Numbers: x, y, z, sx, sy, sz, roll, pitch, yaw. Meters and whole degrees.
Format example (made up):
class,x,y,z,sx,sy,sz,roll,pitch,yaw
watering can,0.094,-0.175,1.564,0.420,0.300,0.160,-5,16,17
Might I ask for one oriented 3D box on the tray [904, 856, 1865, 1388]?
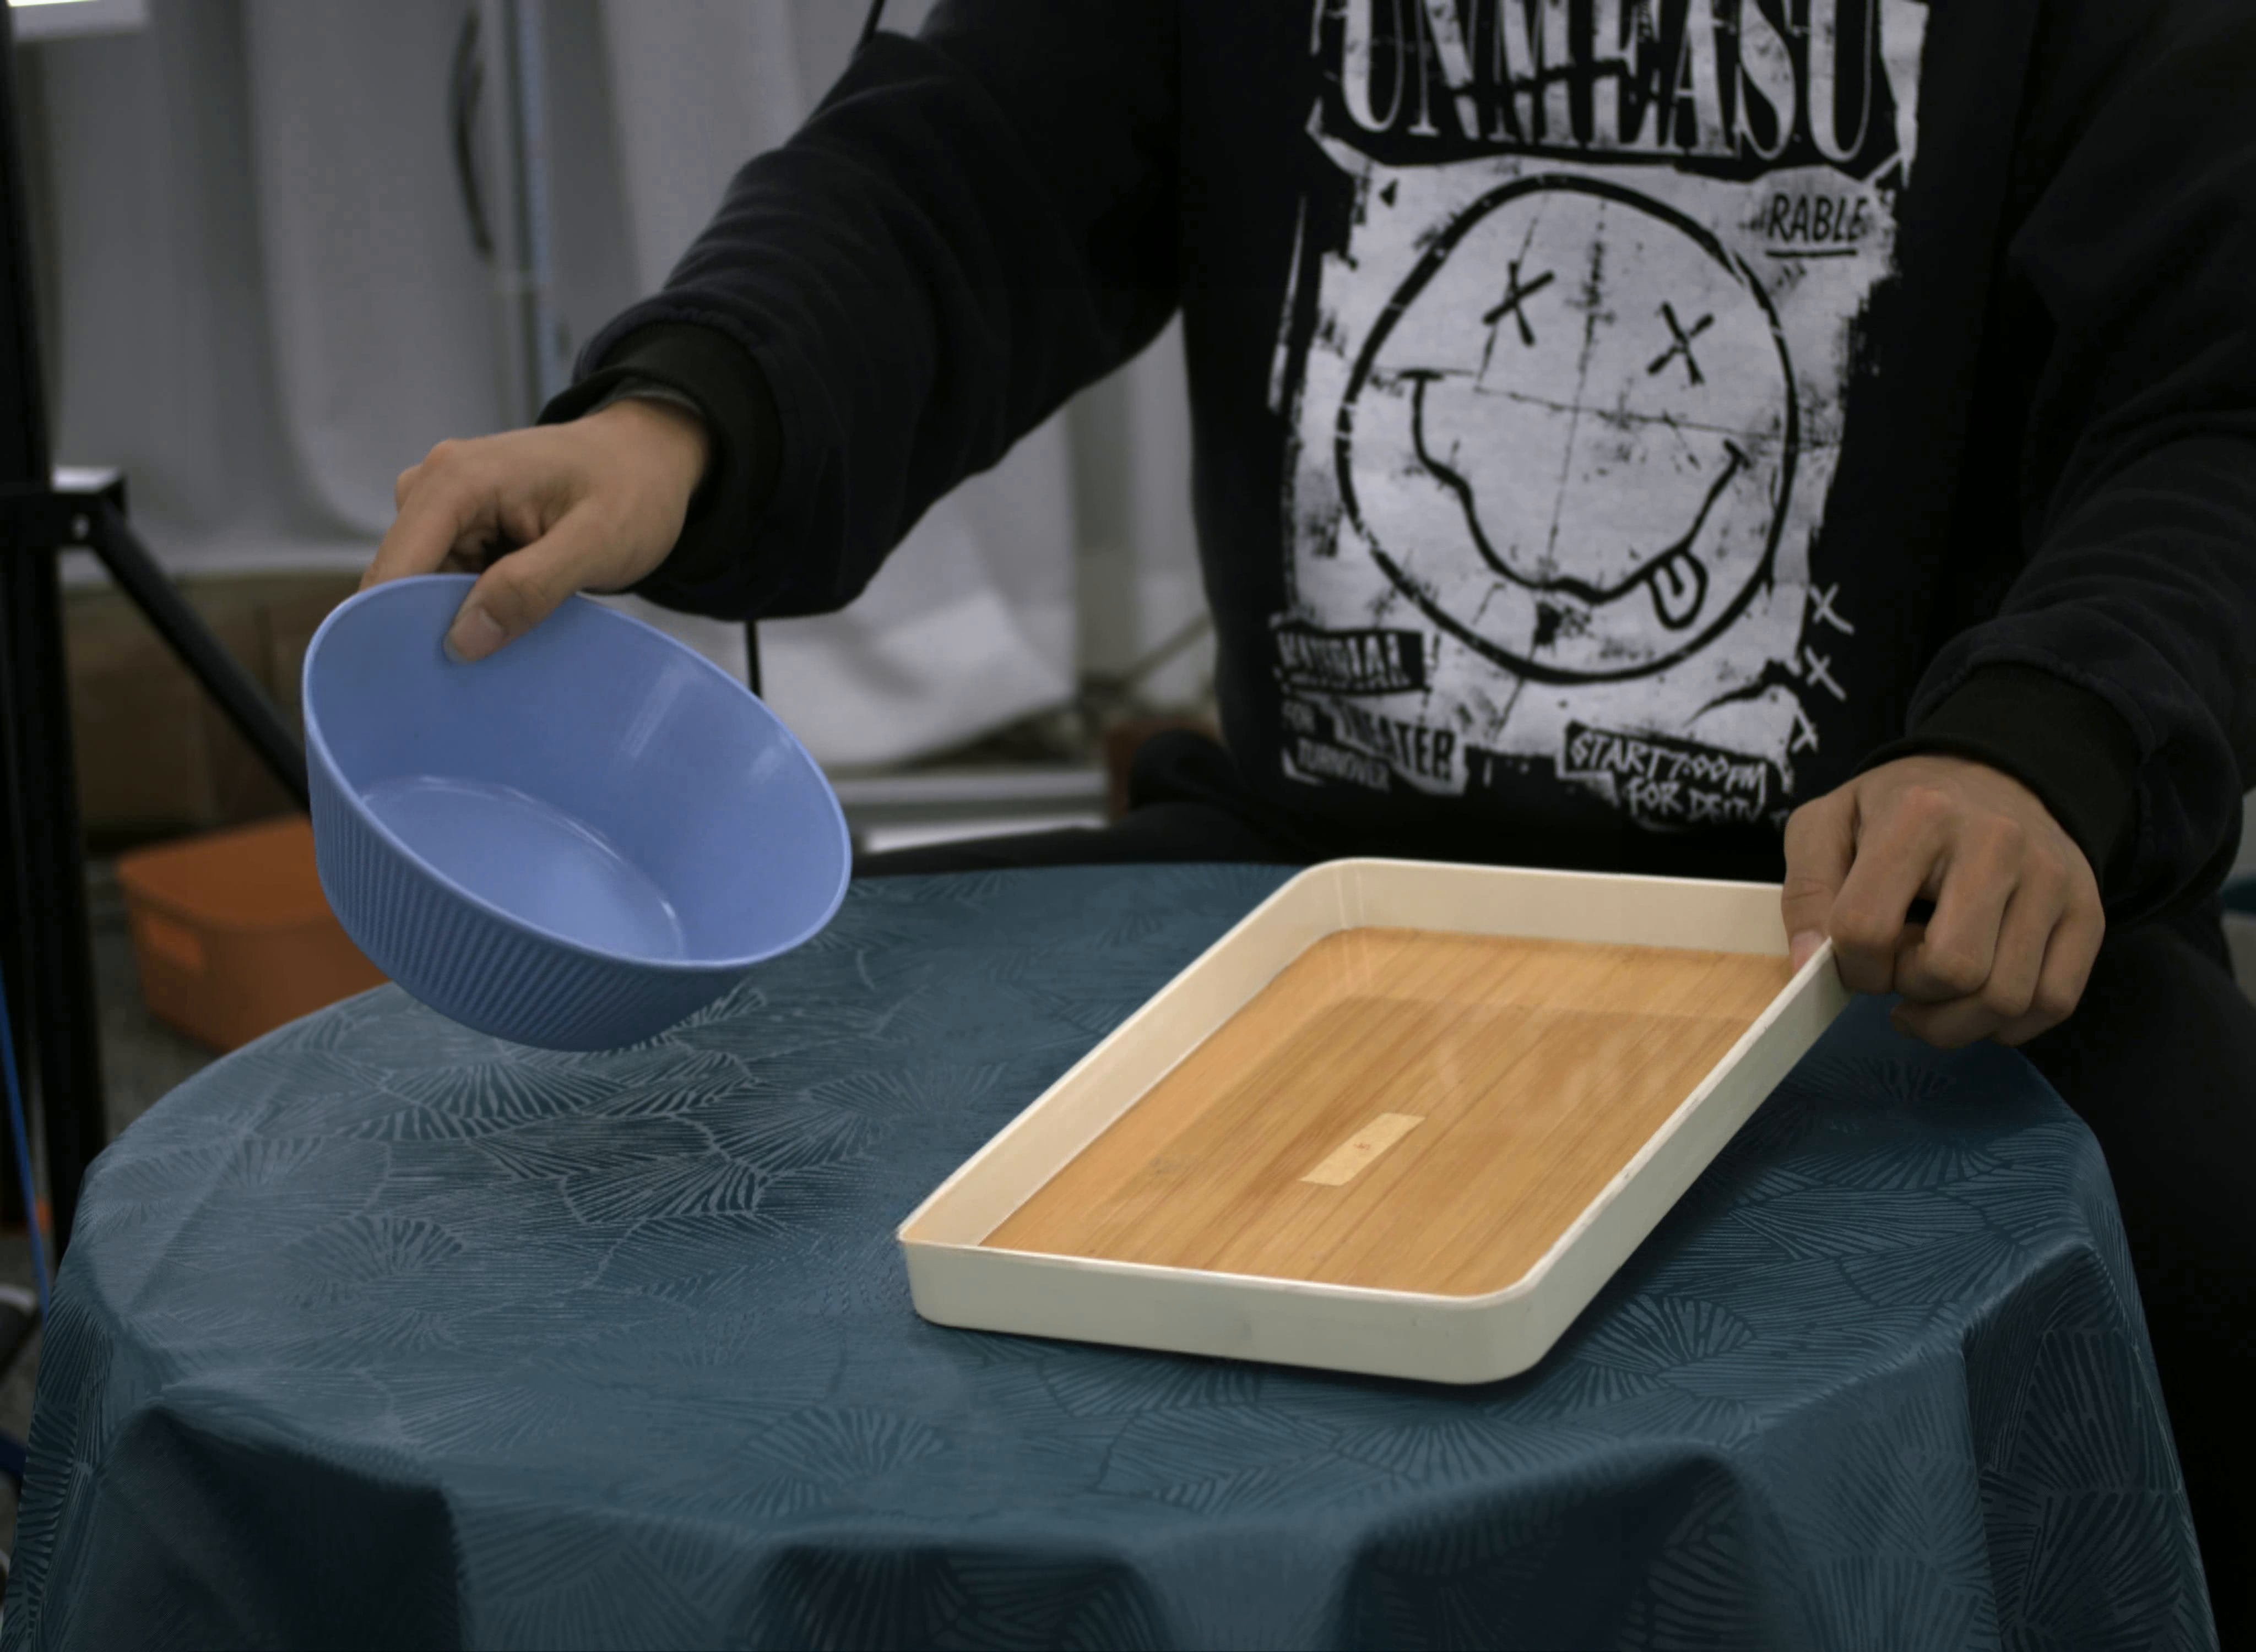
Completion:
class,x,y,z,sx,sy,sz,roll,pitch,yaw
tray,0.082,0.079,1.538,0.195,0.027,0.296,3,23,27

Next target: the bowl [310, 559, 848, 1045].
class,x,y,z,sx,sy,sz,roll,pitch,yaw
bowl,-0.176,0.003,1.606,0.173,0.071,0.178,21,34,-16
